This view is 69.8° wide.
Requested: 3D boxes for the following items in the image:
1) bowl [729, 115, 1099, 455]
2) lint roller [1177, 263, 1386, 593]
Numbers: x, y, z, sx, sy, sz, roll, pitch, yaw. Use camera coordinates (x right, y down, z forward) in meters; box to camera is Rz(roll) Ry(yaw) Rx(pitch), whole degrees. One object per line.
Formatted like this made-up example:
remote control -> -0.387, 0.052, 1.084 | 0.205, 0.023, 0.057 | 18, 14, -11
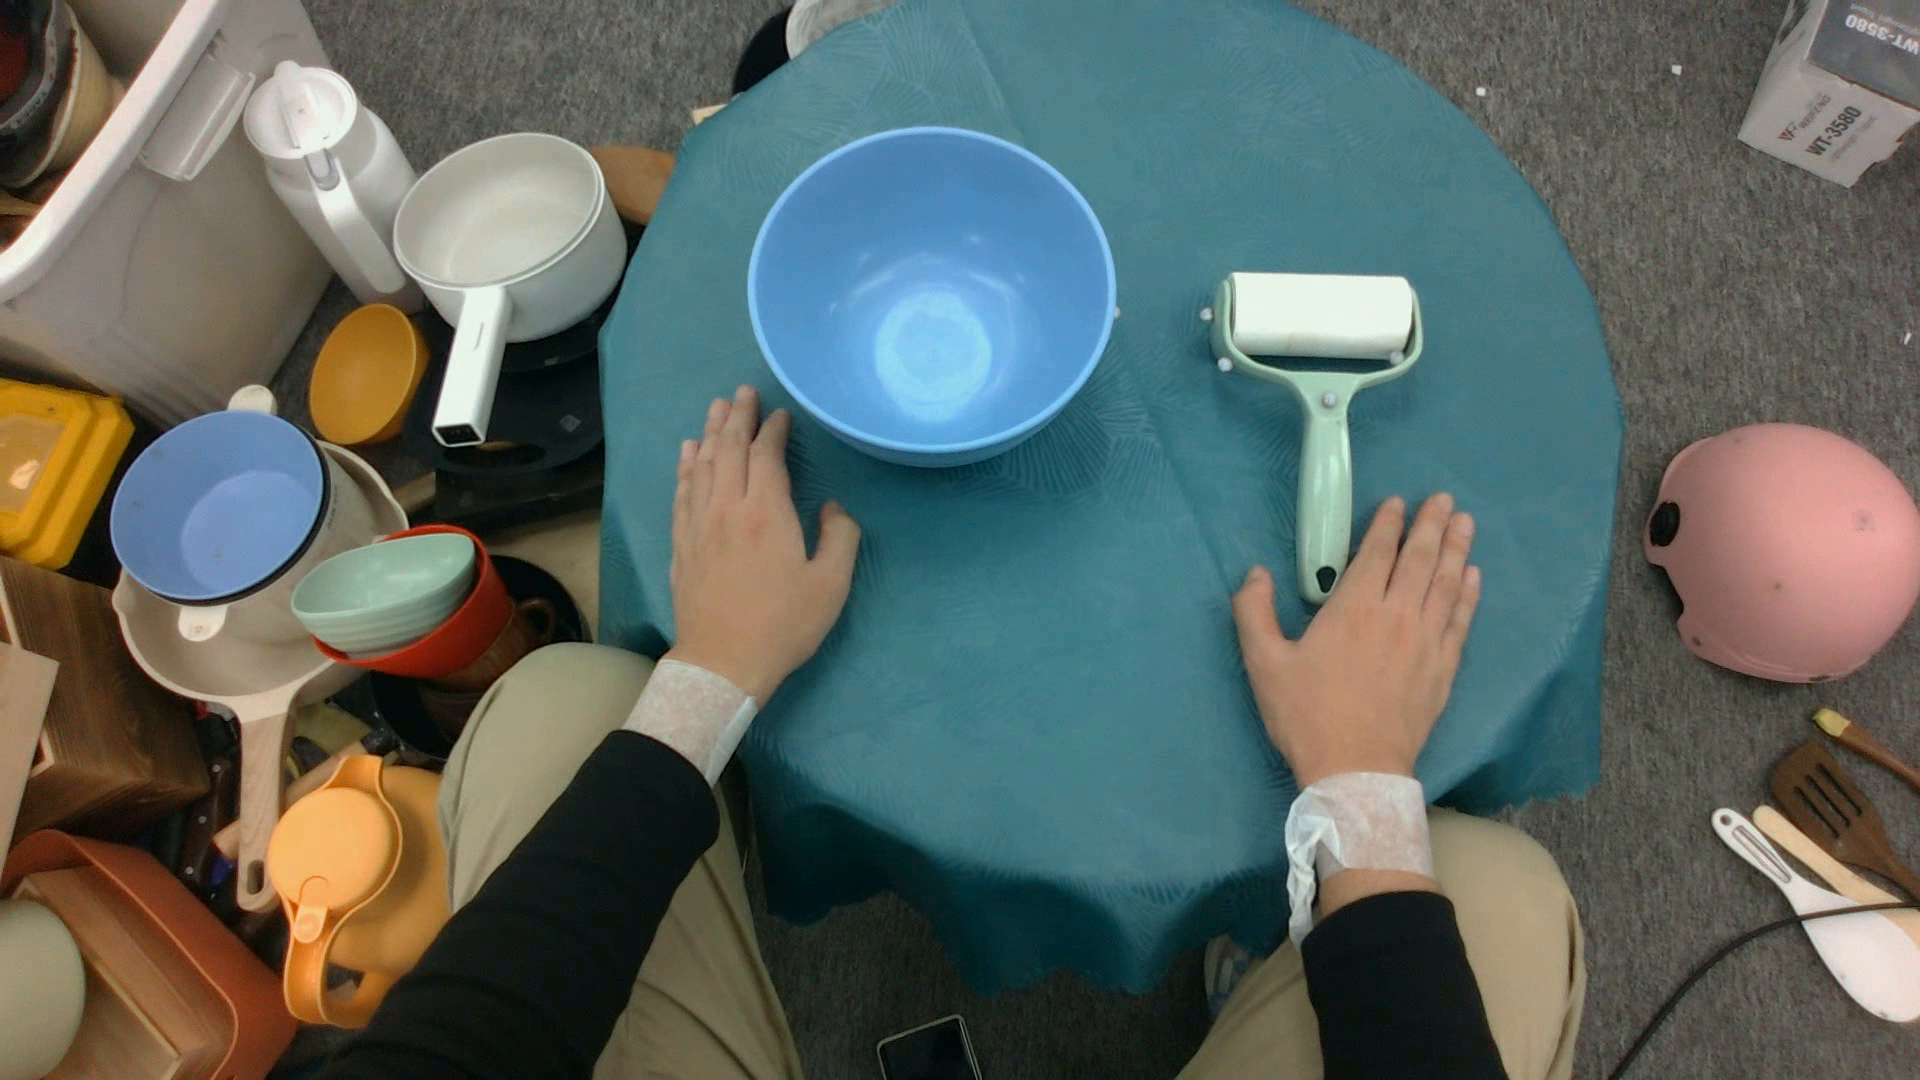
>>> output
bowl -> -0.026, -0.128, 0.772 | 0.196, 0.095, 0.197 | 1, 70, -3
lint roller -> 0.186, -0.069, 0.785 | 0.116, 0.048, 0.198 | 2, 71, -3
